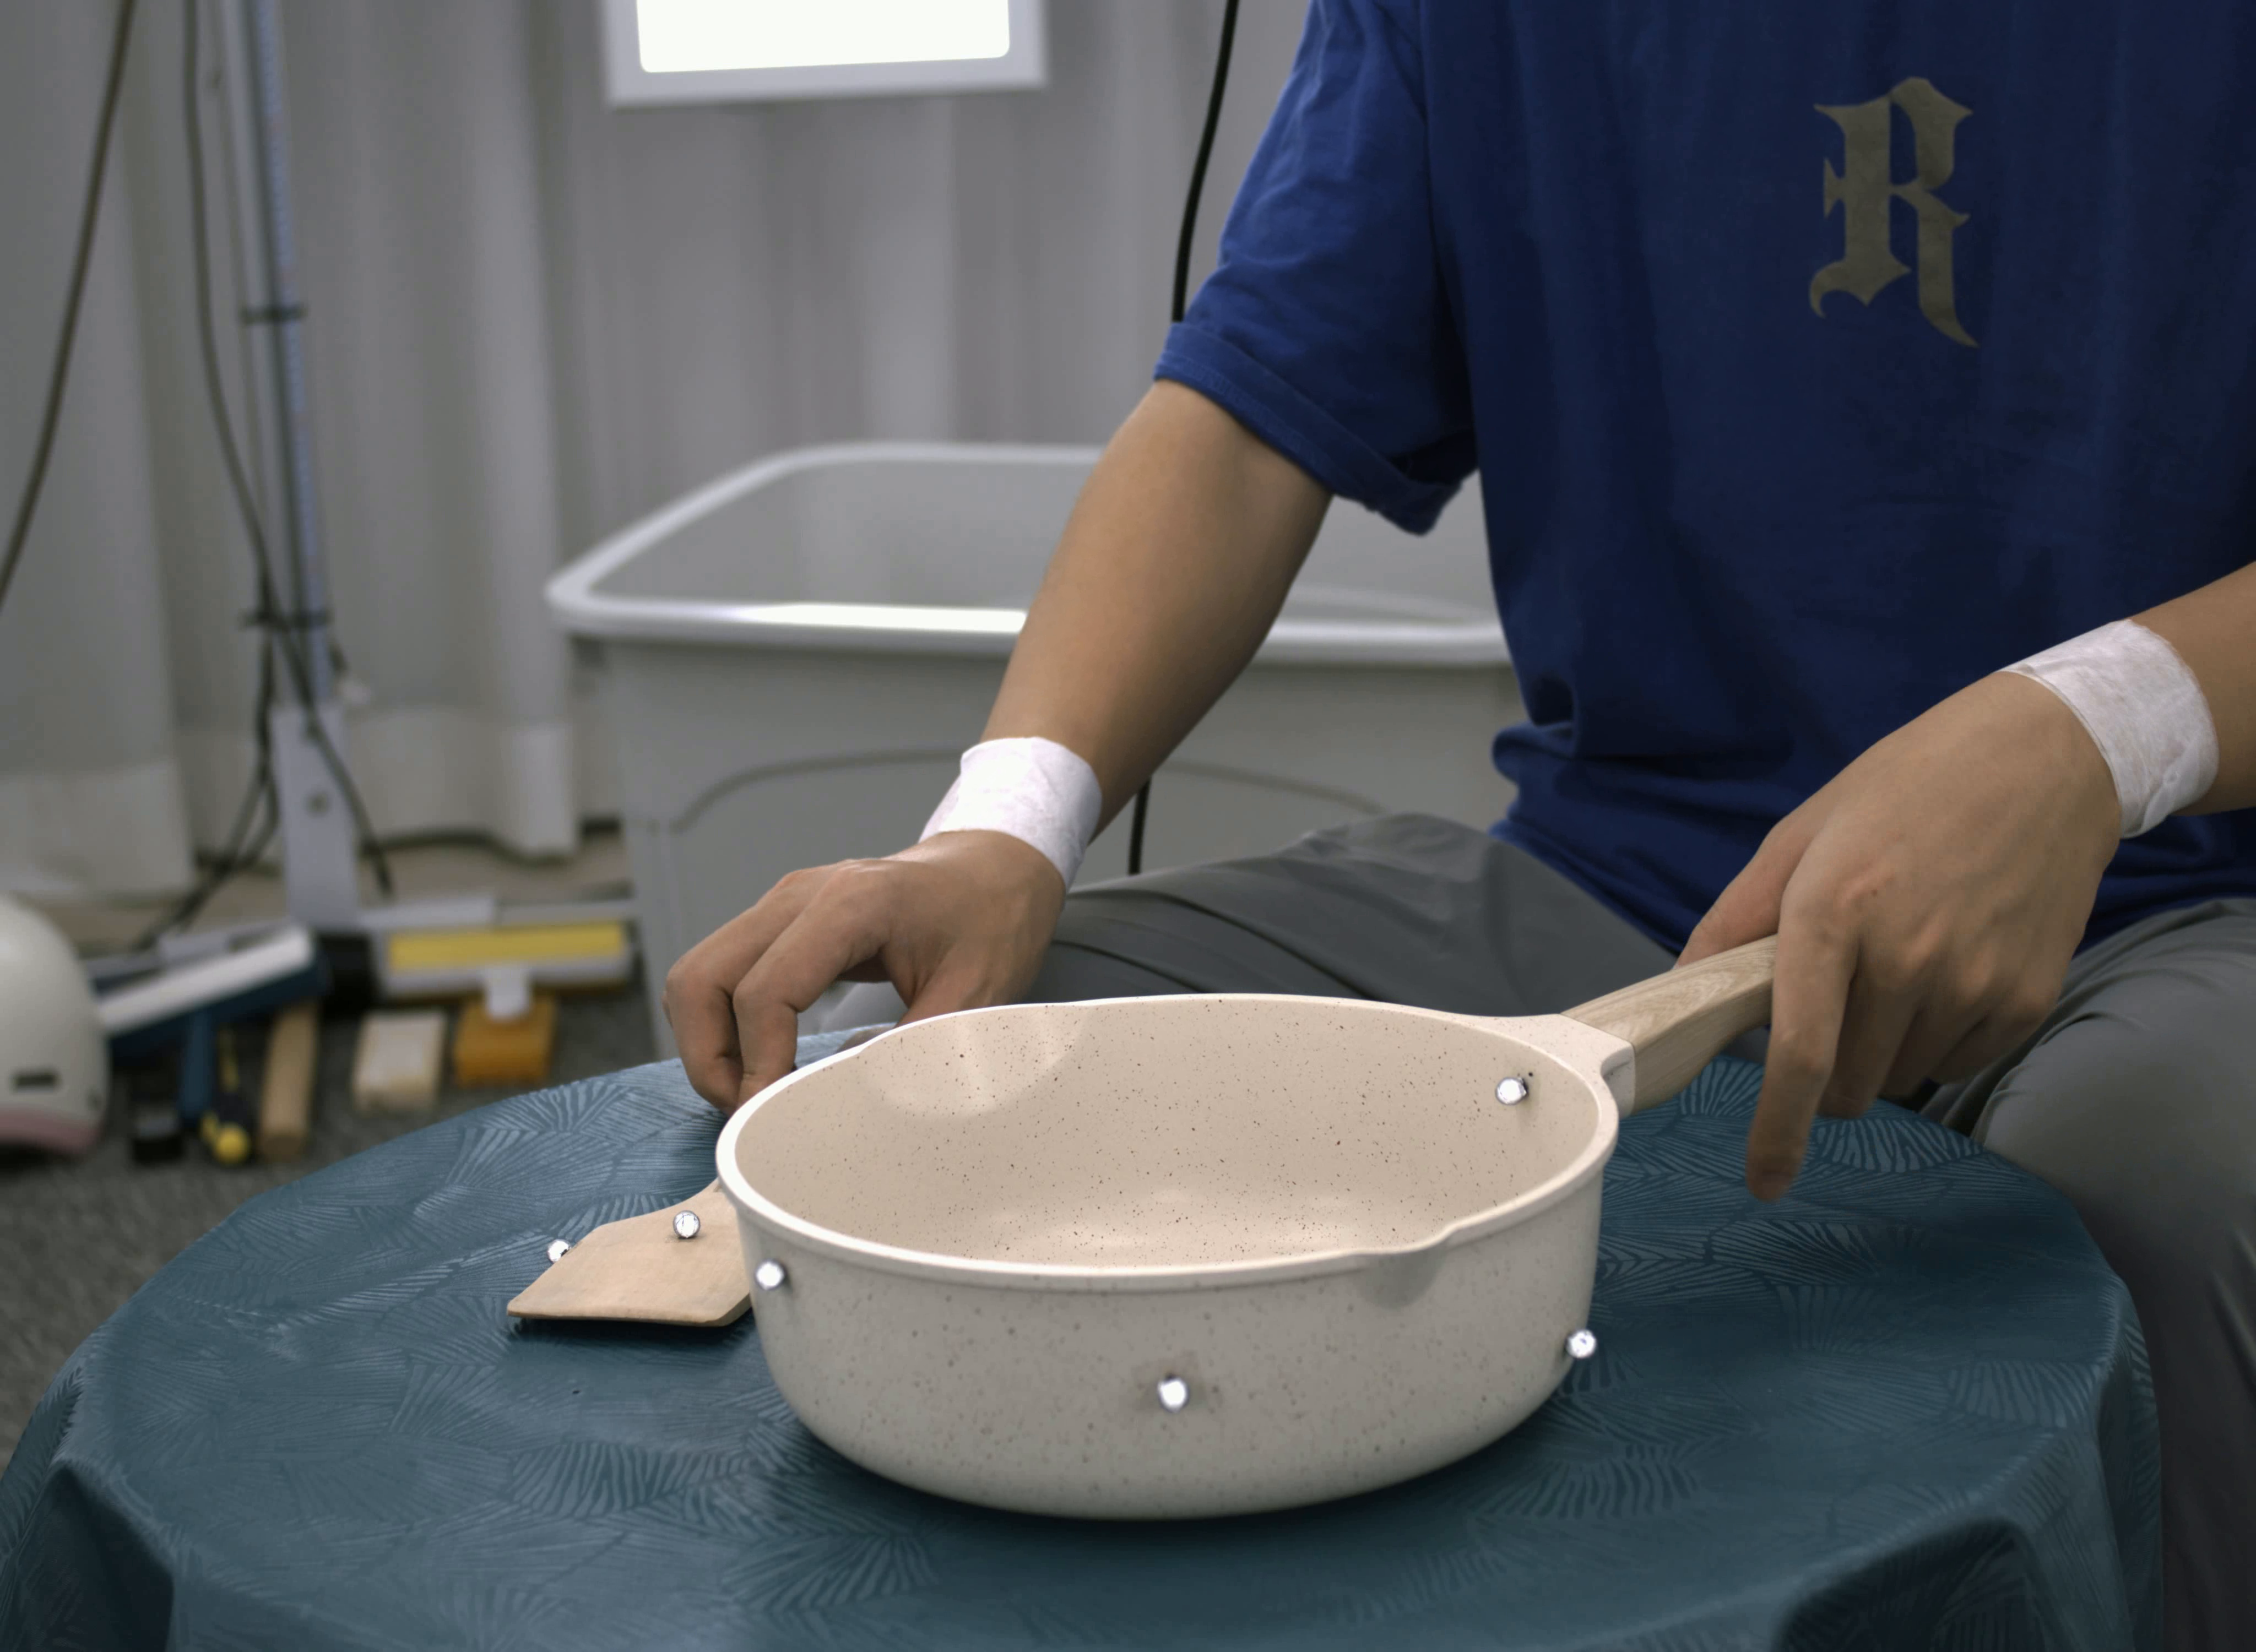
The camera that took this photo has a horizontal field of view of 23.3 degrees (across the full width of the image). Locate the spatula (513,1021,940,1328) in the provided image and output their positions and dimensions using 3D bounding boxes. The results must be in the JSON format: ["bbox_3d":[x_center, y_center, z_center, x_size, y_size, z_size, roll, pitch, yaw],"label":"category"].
[{"bbox_3d":[-0.114,0.108,1.738,0.072,0.010,0.294,0,15,15],"label":"spatula"}]

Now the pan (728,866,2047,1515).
[{"bbox_3d":[0.094,0.098,1.562,0.433,0.101,0.265,-11,15,-29],"label":"pan"}]
